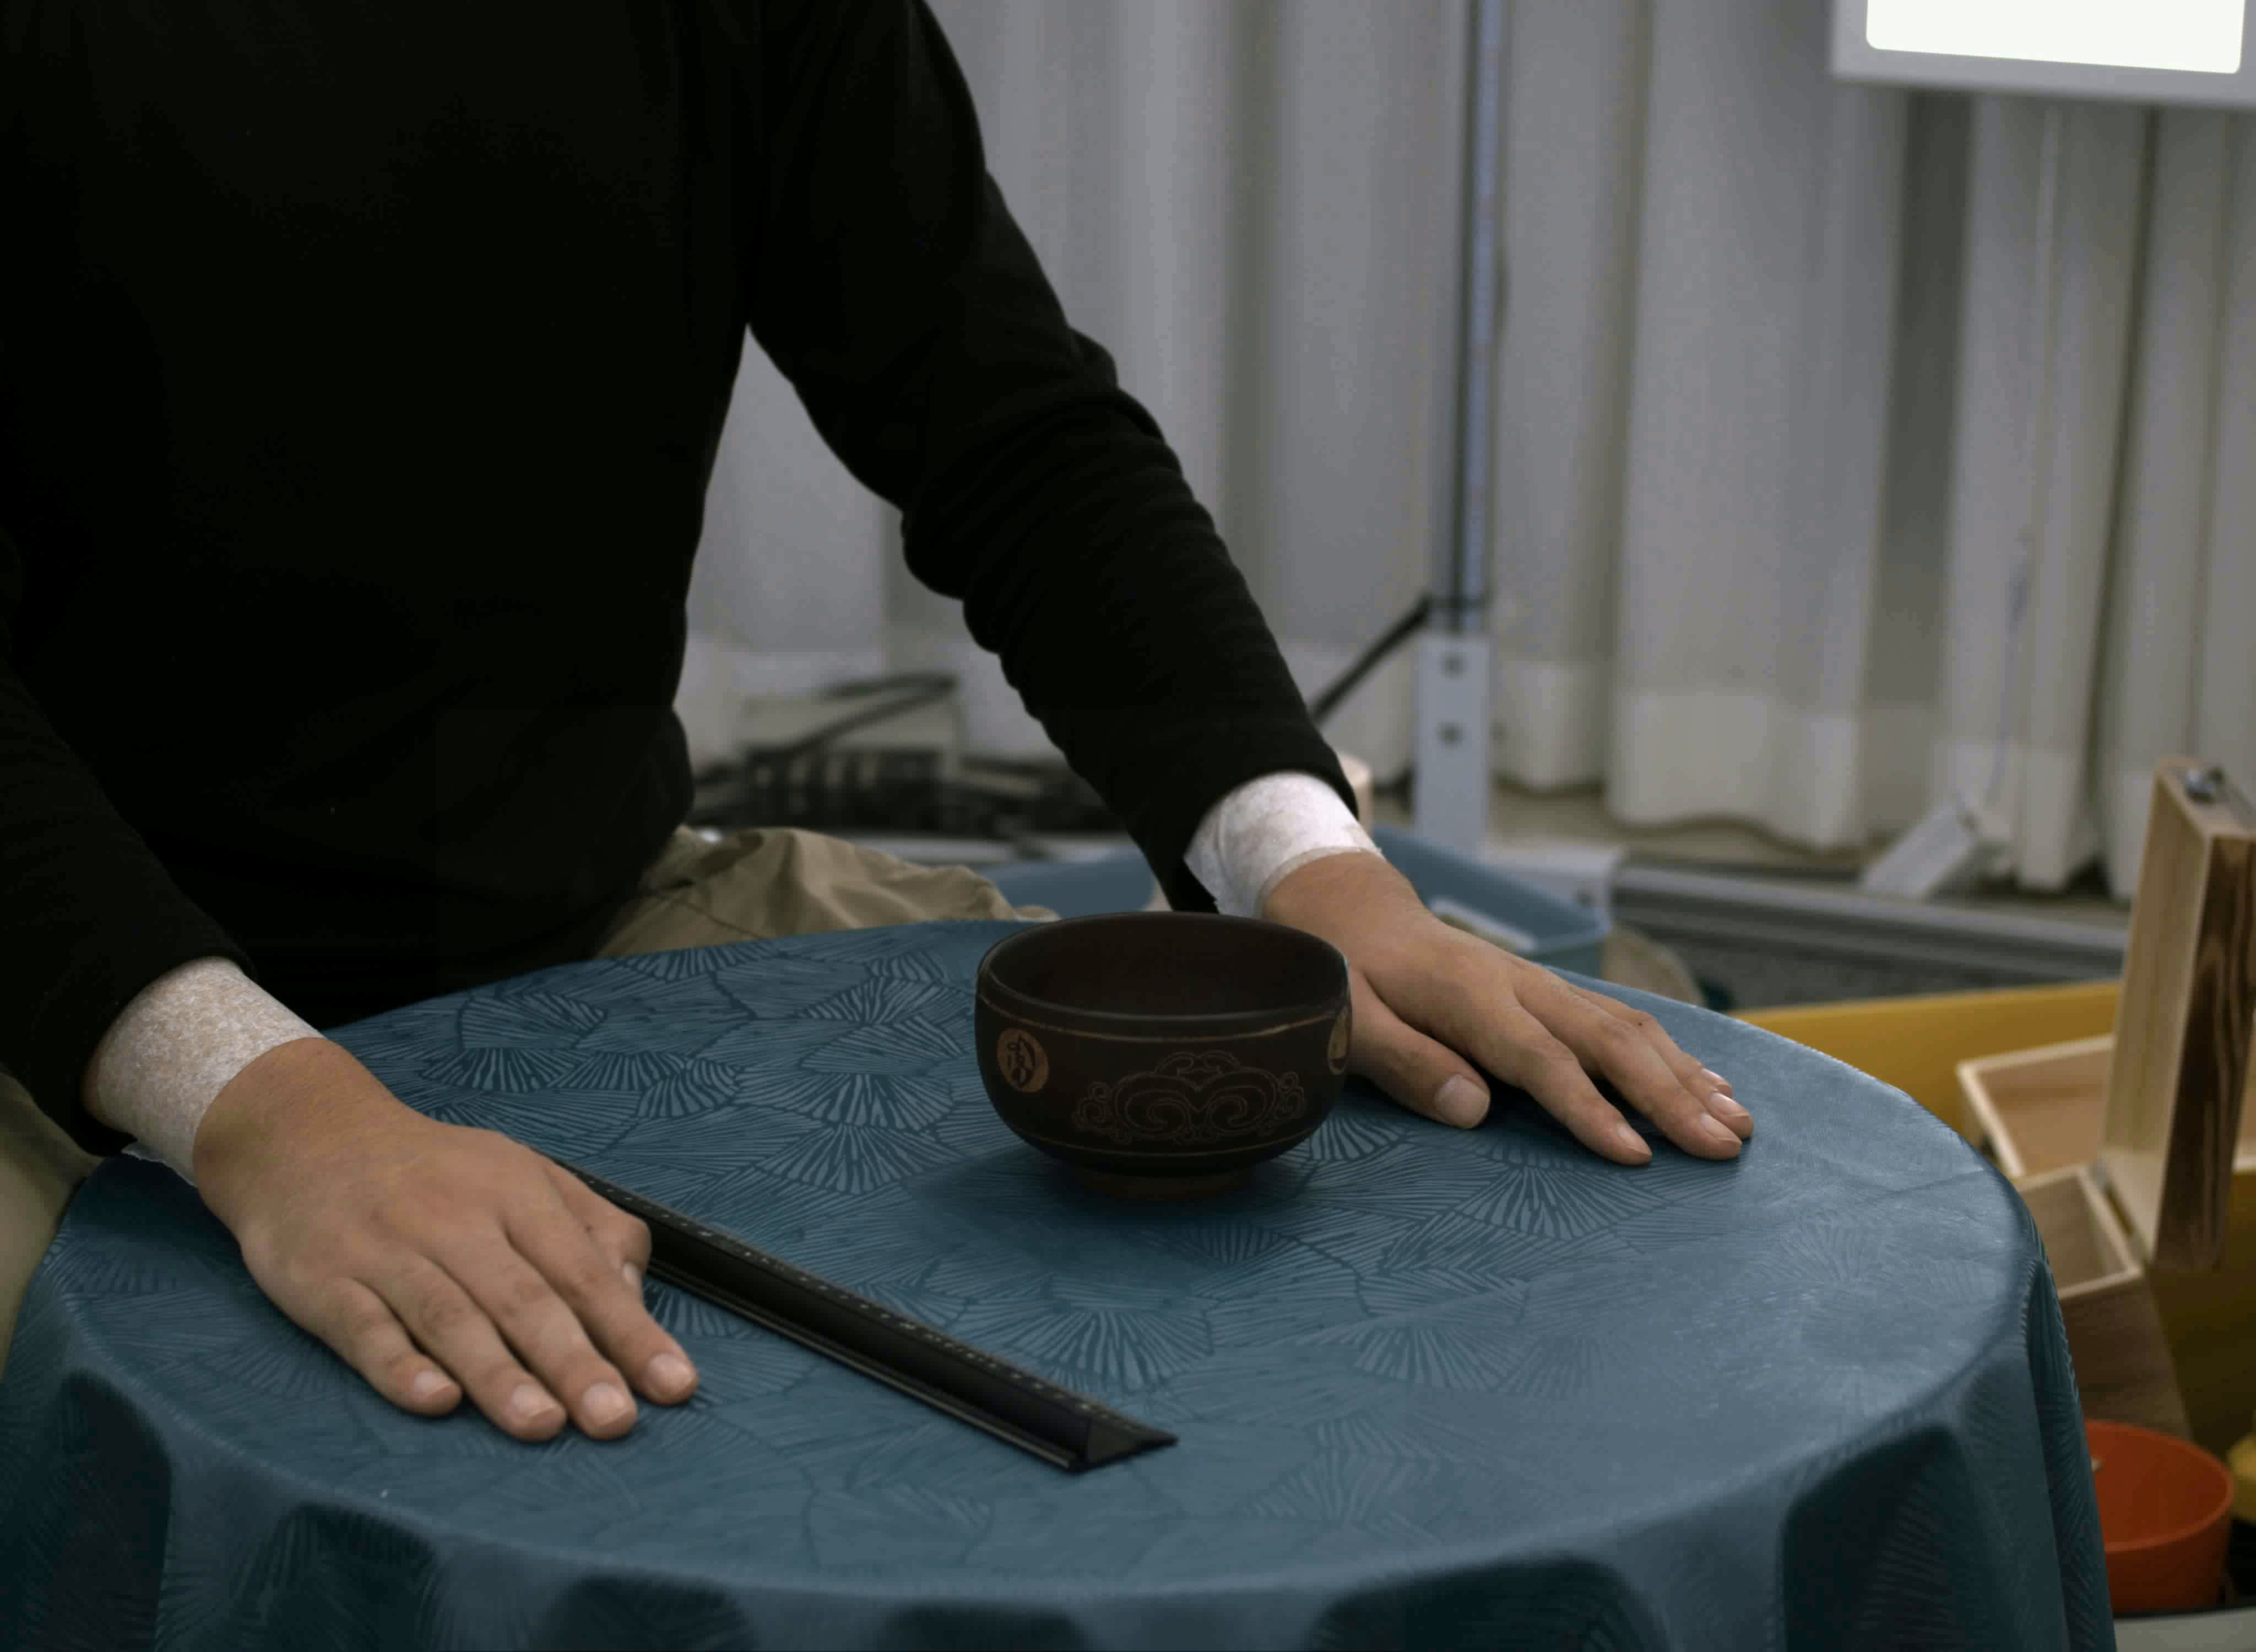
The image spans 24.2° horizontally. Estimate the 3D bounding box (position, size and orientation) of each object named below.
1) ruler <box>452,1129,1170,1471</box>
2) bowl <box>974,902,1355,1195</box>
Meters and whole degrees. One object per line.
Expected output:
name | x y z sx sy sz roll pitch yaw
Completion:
ruler | -0.098 0.131 1.523 0.039 0.017 0.308 -7 16 -39
bowl | 0.011 0.072 1.628 0.117 0.070 0.117 1 16 0
